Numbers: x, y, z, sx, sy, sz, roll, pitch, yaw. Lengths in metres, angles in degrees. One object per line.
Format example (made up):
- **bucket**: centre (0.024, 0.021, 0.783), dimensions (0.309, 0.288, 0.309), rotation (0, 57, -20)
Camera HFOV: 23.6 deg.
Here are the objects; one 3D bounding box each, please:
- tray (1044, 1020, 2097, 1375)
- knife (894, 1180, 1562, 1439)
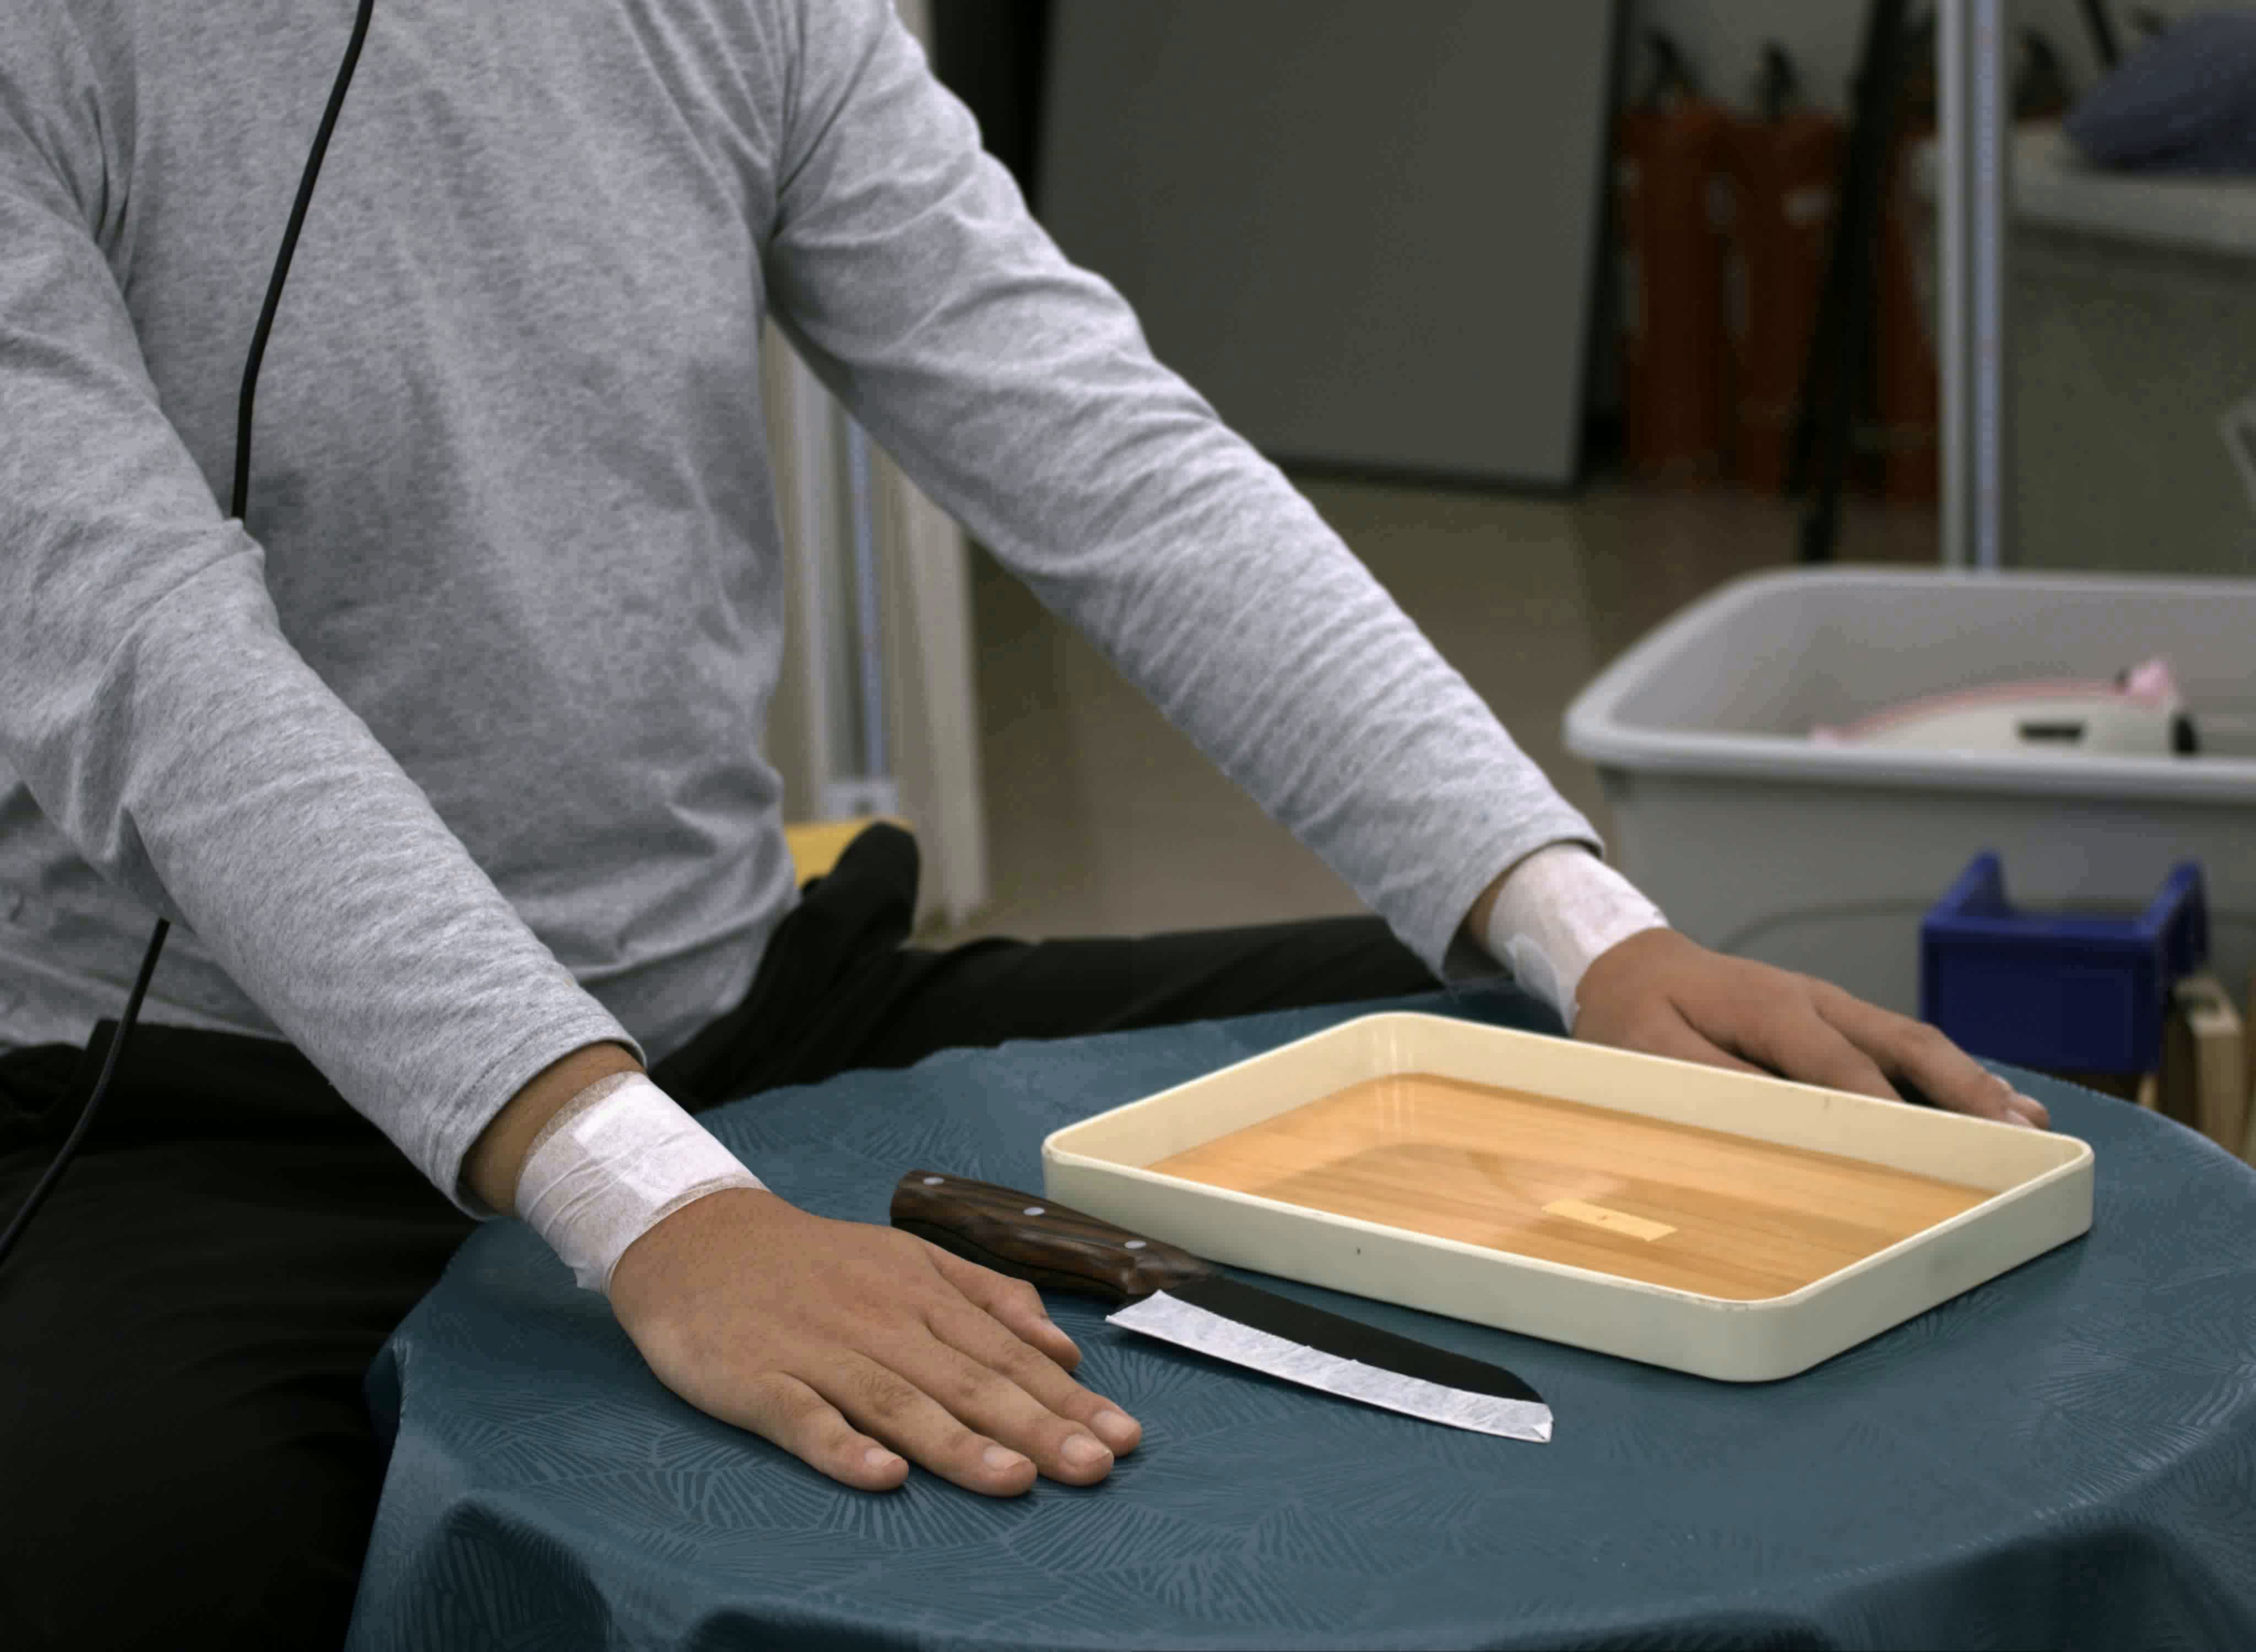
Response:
- **tray**: centre (0.137, 0.114, 1.709), dimensions (0.303, 0.028, 0.188), rotation (8, 18, 43)
- **knife**: centre (0.026, 0.147, 1.629), dimensions (0.049, 0.020, 0.292), rotation (-21, 23, -37)
